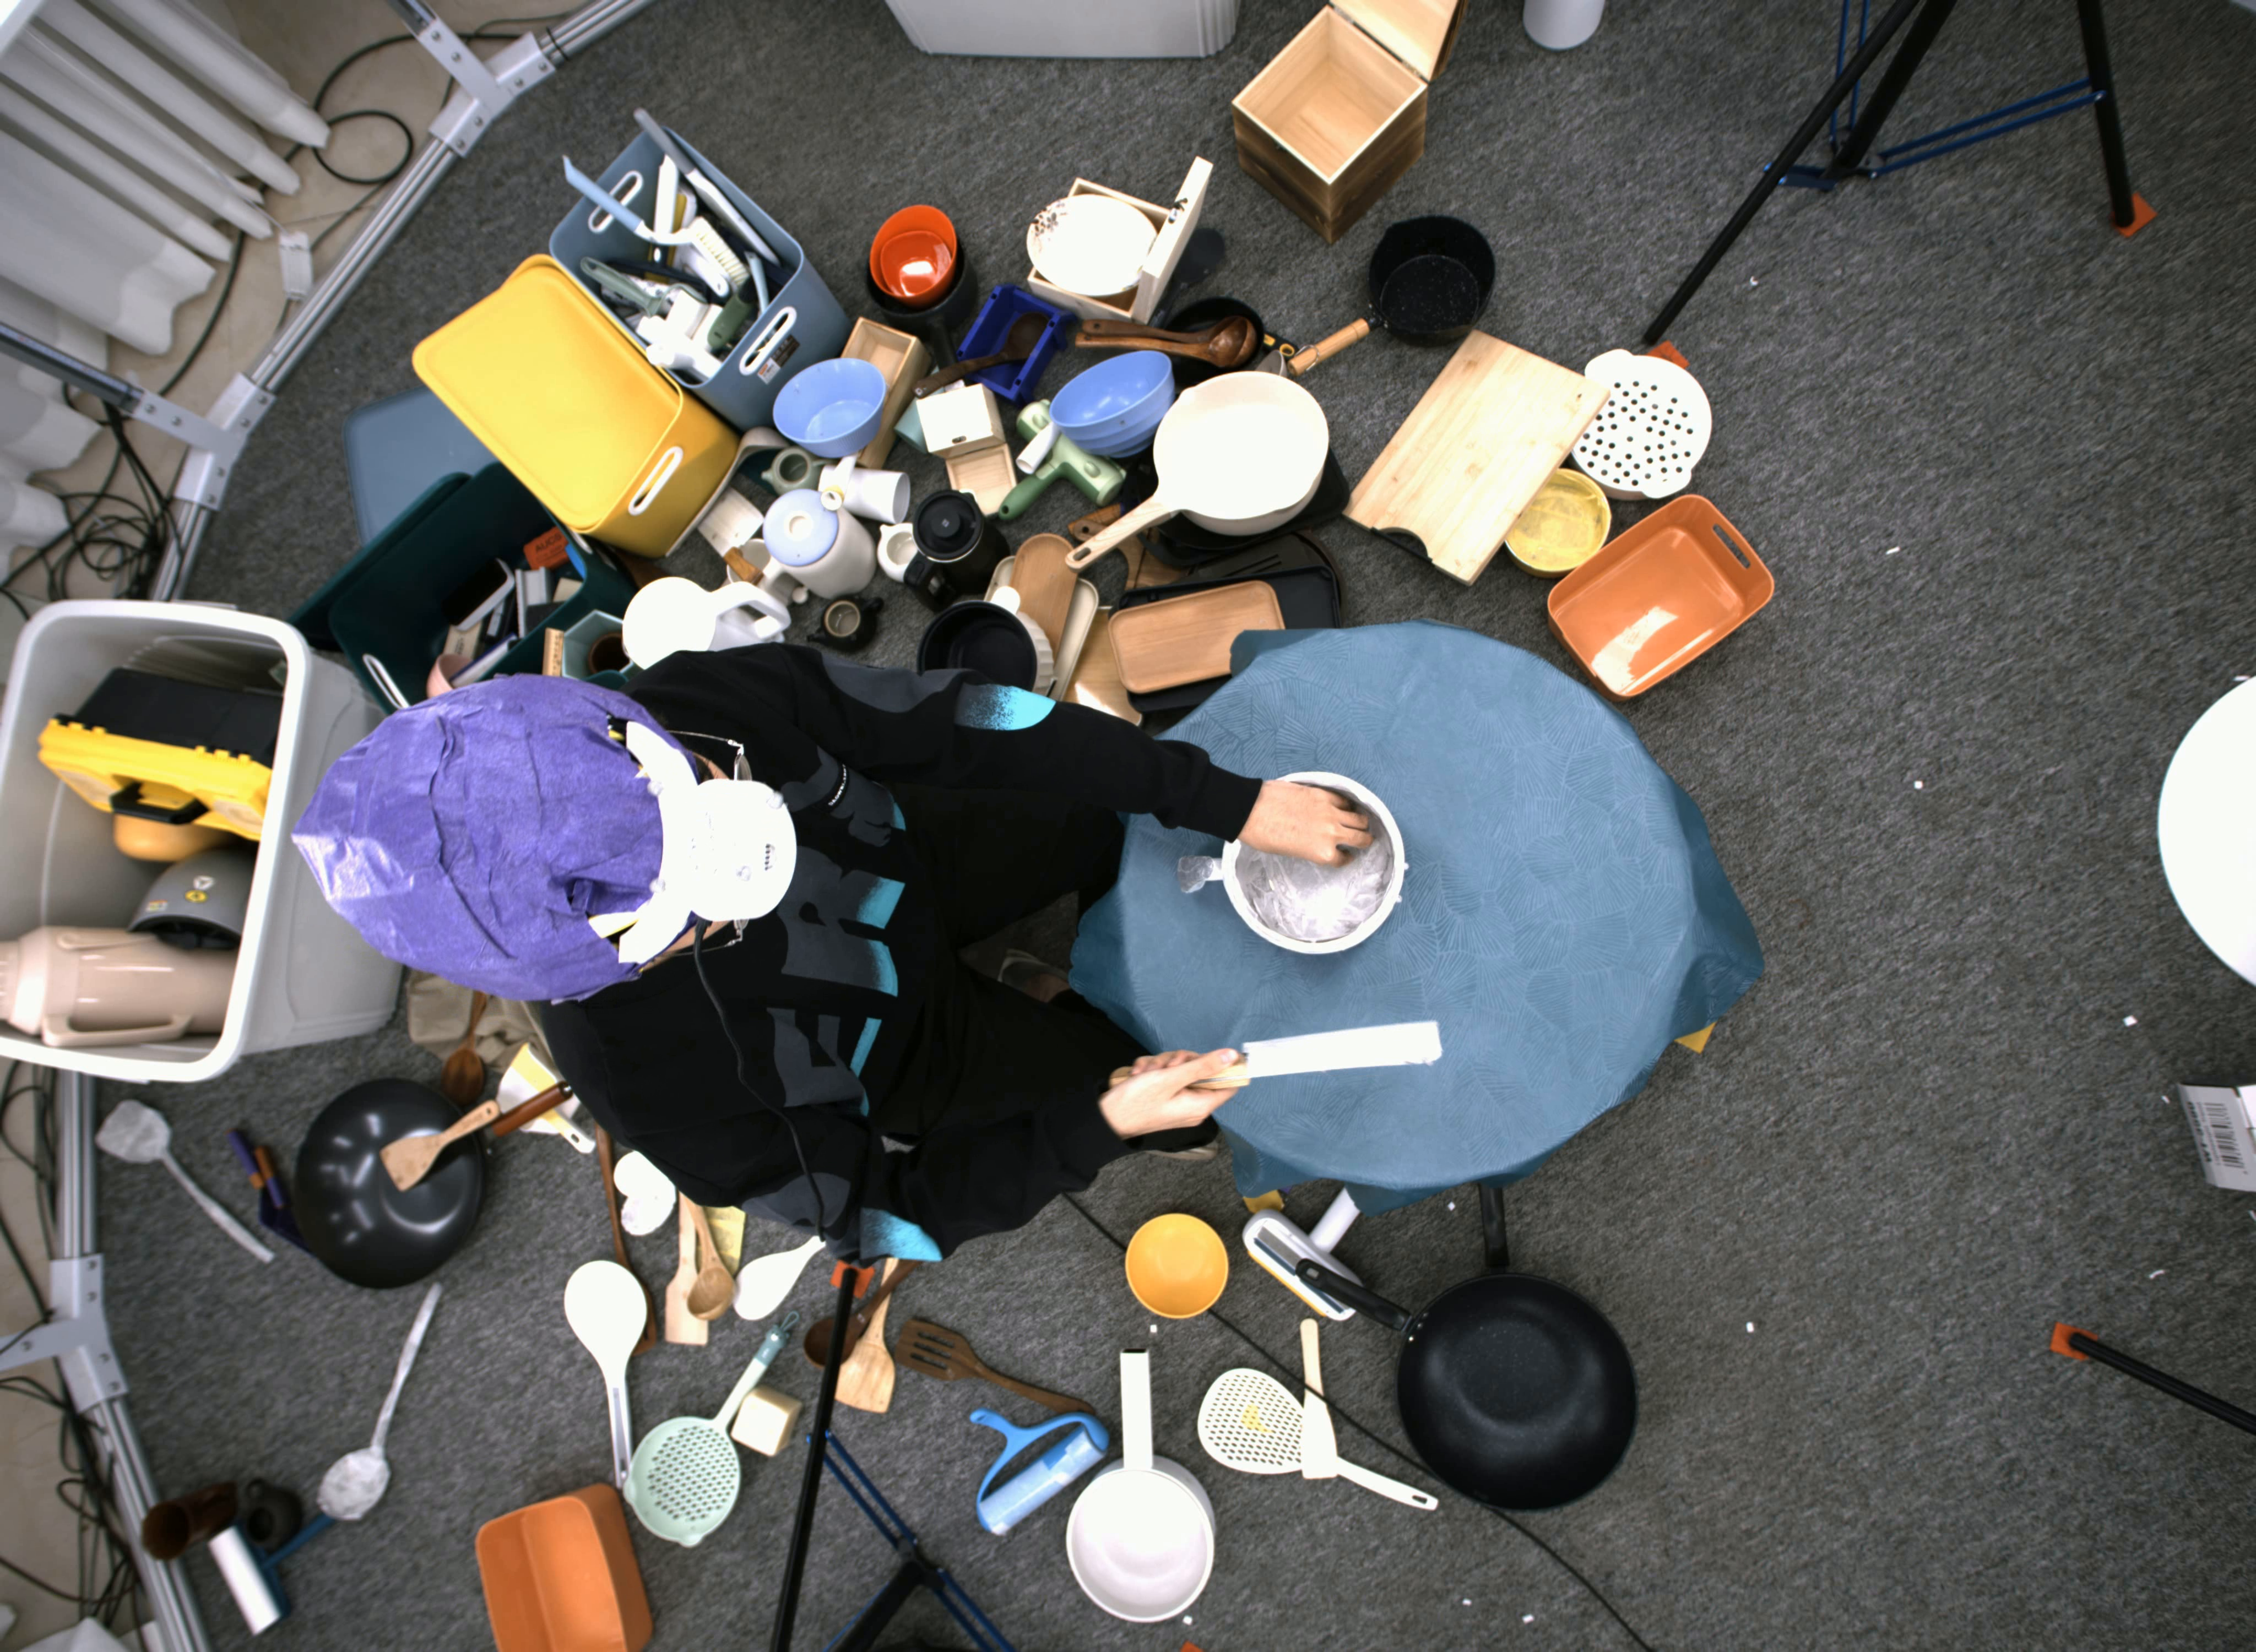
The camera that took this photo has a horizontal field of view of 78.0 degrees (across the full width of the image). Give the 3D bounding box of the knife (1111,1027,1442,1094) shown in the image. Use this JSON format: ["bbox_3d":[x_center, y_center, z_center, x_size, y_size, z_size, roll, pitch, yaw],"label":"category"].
[{"bbox_3d":[0.141,0.217,1.289,0.316,0.112,0.022,-8,101,5],"label":"knife"}]

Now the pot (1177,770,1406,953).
[{"bbox_3d":[0.163,0.042,1.411,0.234,0.137,0.177,-4,84,9],"label":"pot"}]
